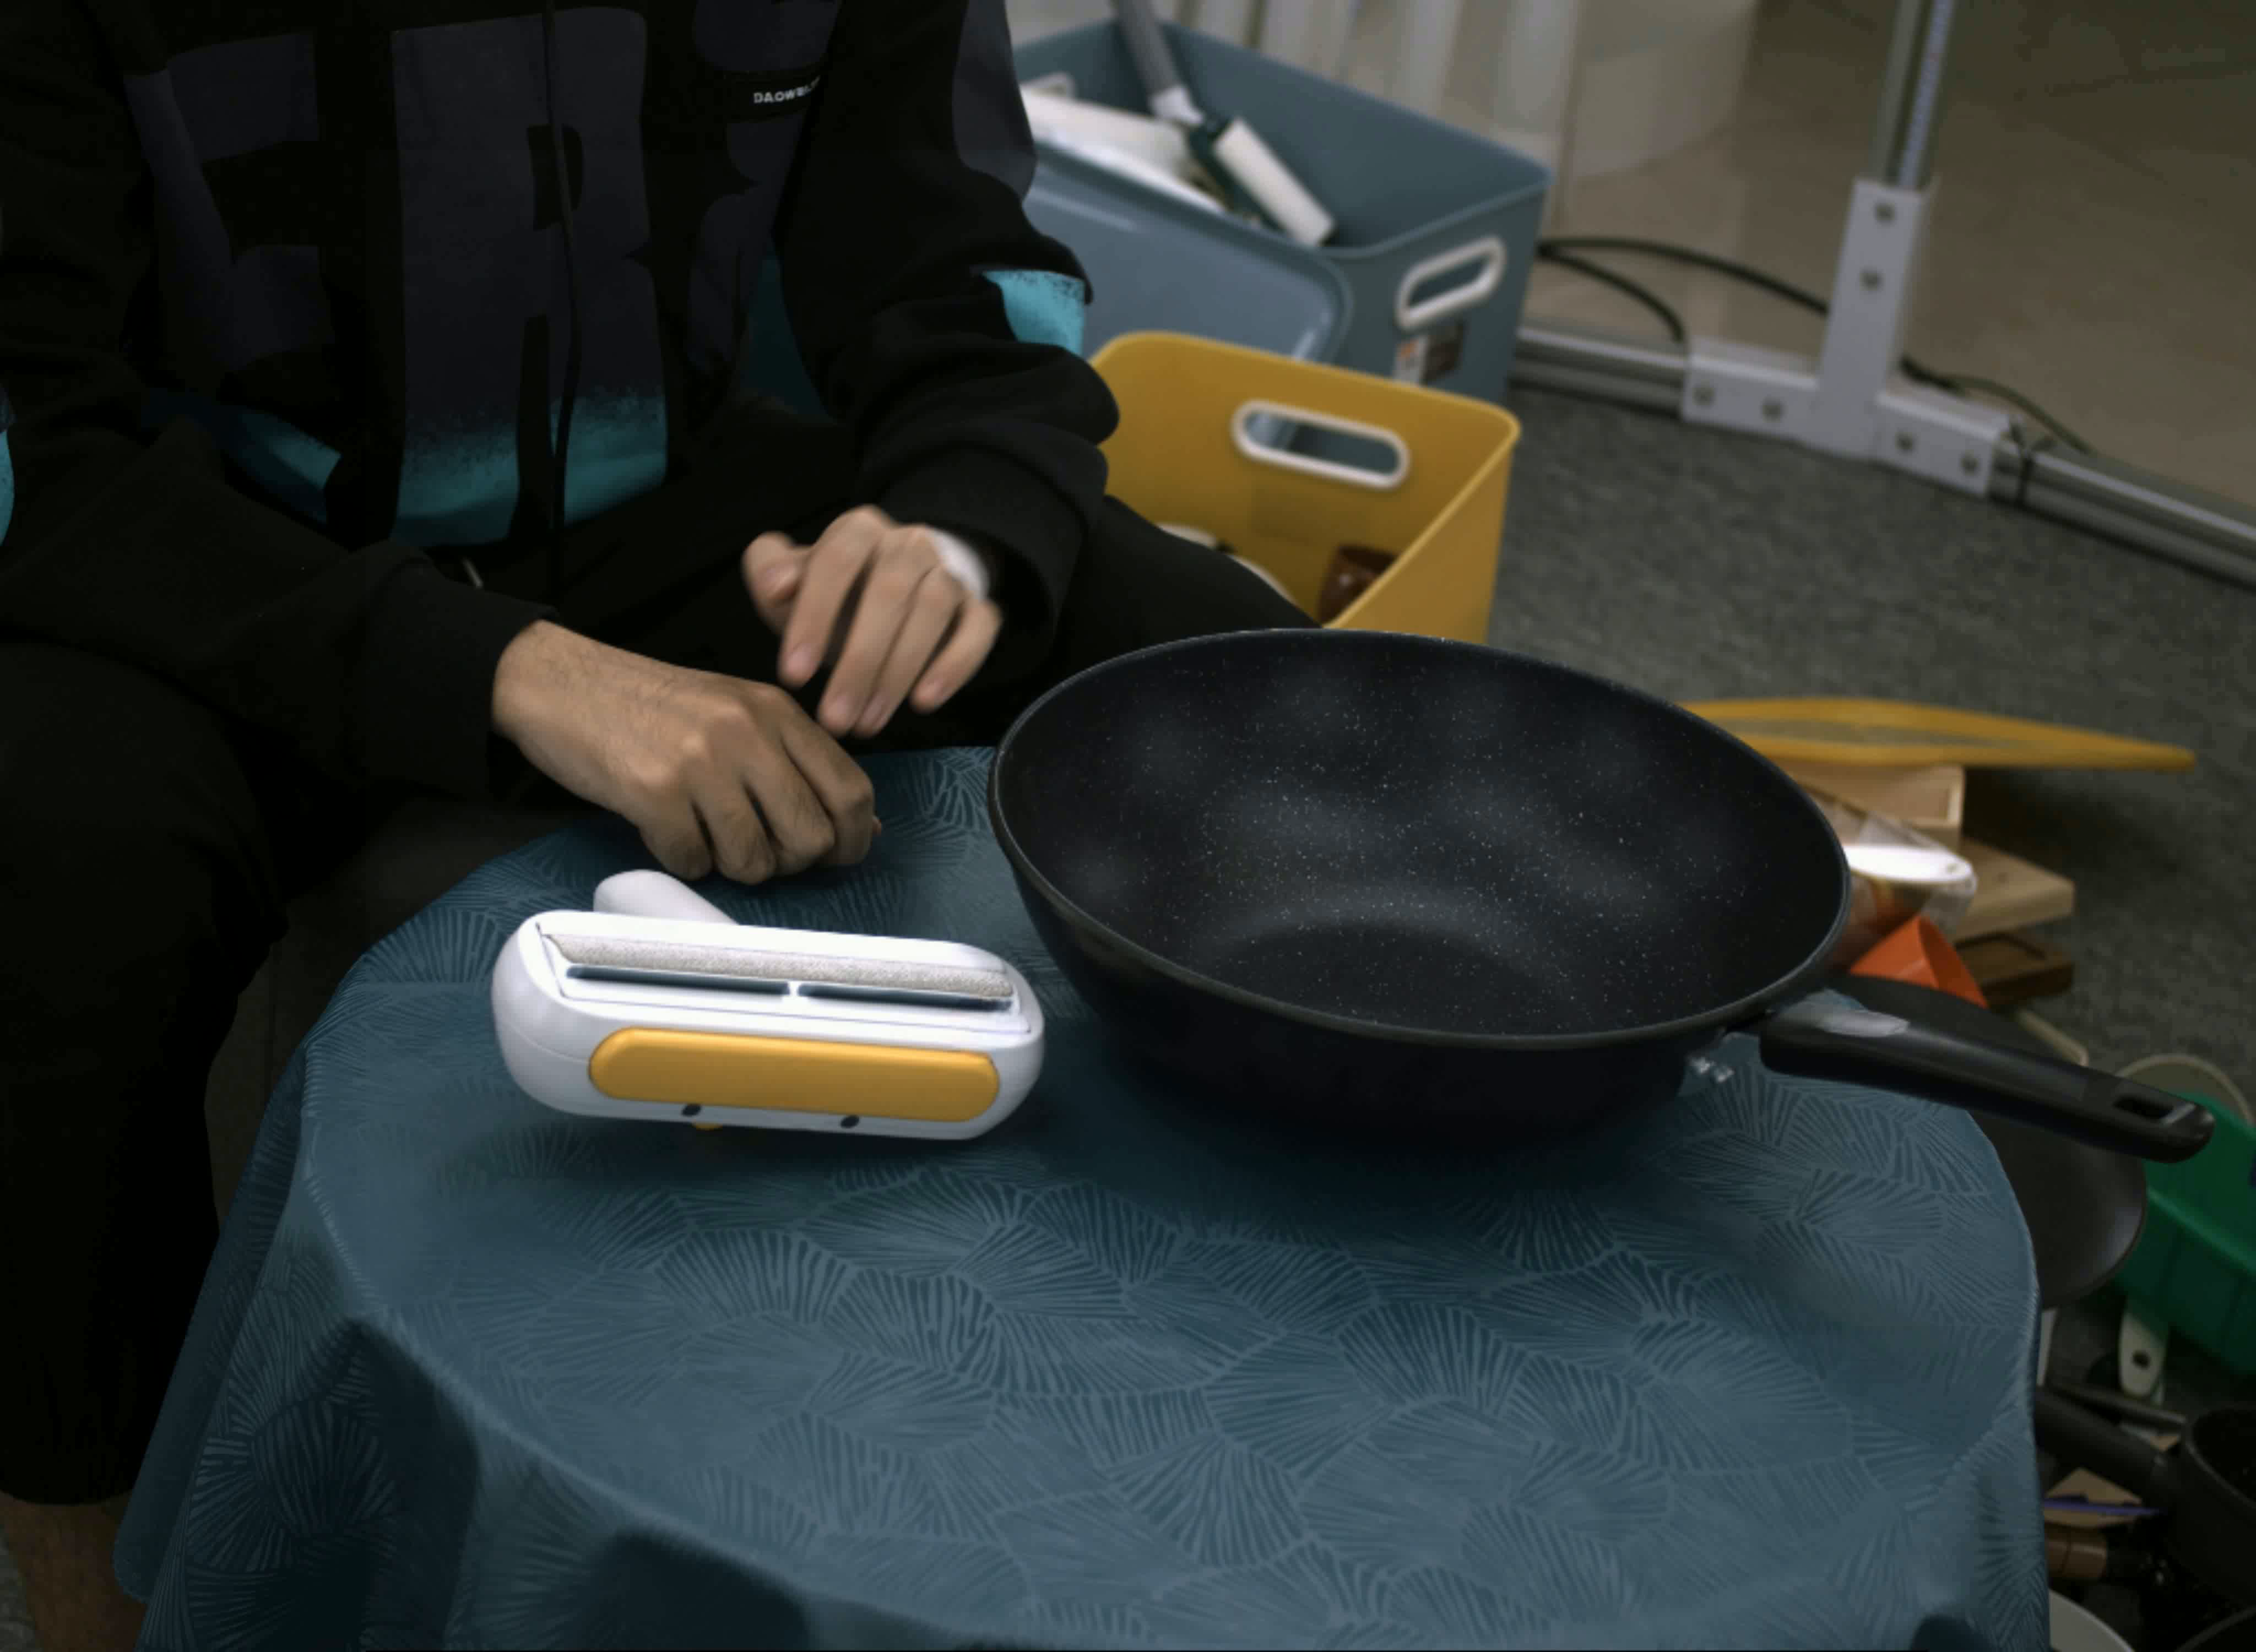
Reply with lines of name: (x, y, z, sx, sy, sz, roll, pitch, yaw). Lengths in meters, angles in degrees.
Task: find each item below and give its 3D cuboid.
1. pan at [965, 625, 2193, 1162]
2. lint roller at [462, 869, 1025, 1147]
pan: (0.156, 0.055, 1.850, 0.480, 0.111, 0.309, 26, 35, 35)
lint roller: (-0.146, 0.048, 1.840, 0.191, 0.074, 0.194, 3, 25, -19)
